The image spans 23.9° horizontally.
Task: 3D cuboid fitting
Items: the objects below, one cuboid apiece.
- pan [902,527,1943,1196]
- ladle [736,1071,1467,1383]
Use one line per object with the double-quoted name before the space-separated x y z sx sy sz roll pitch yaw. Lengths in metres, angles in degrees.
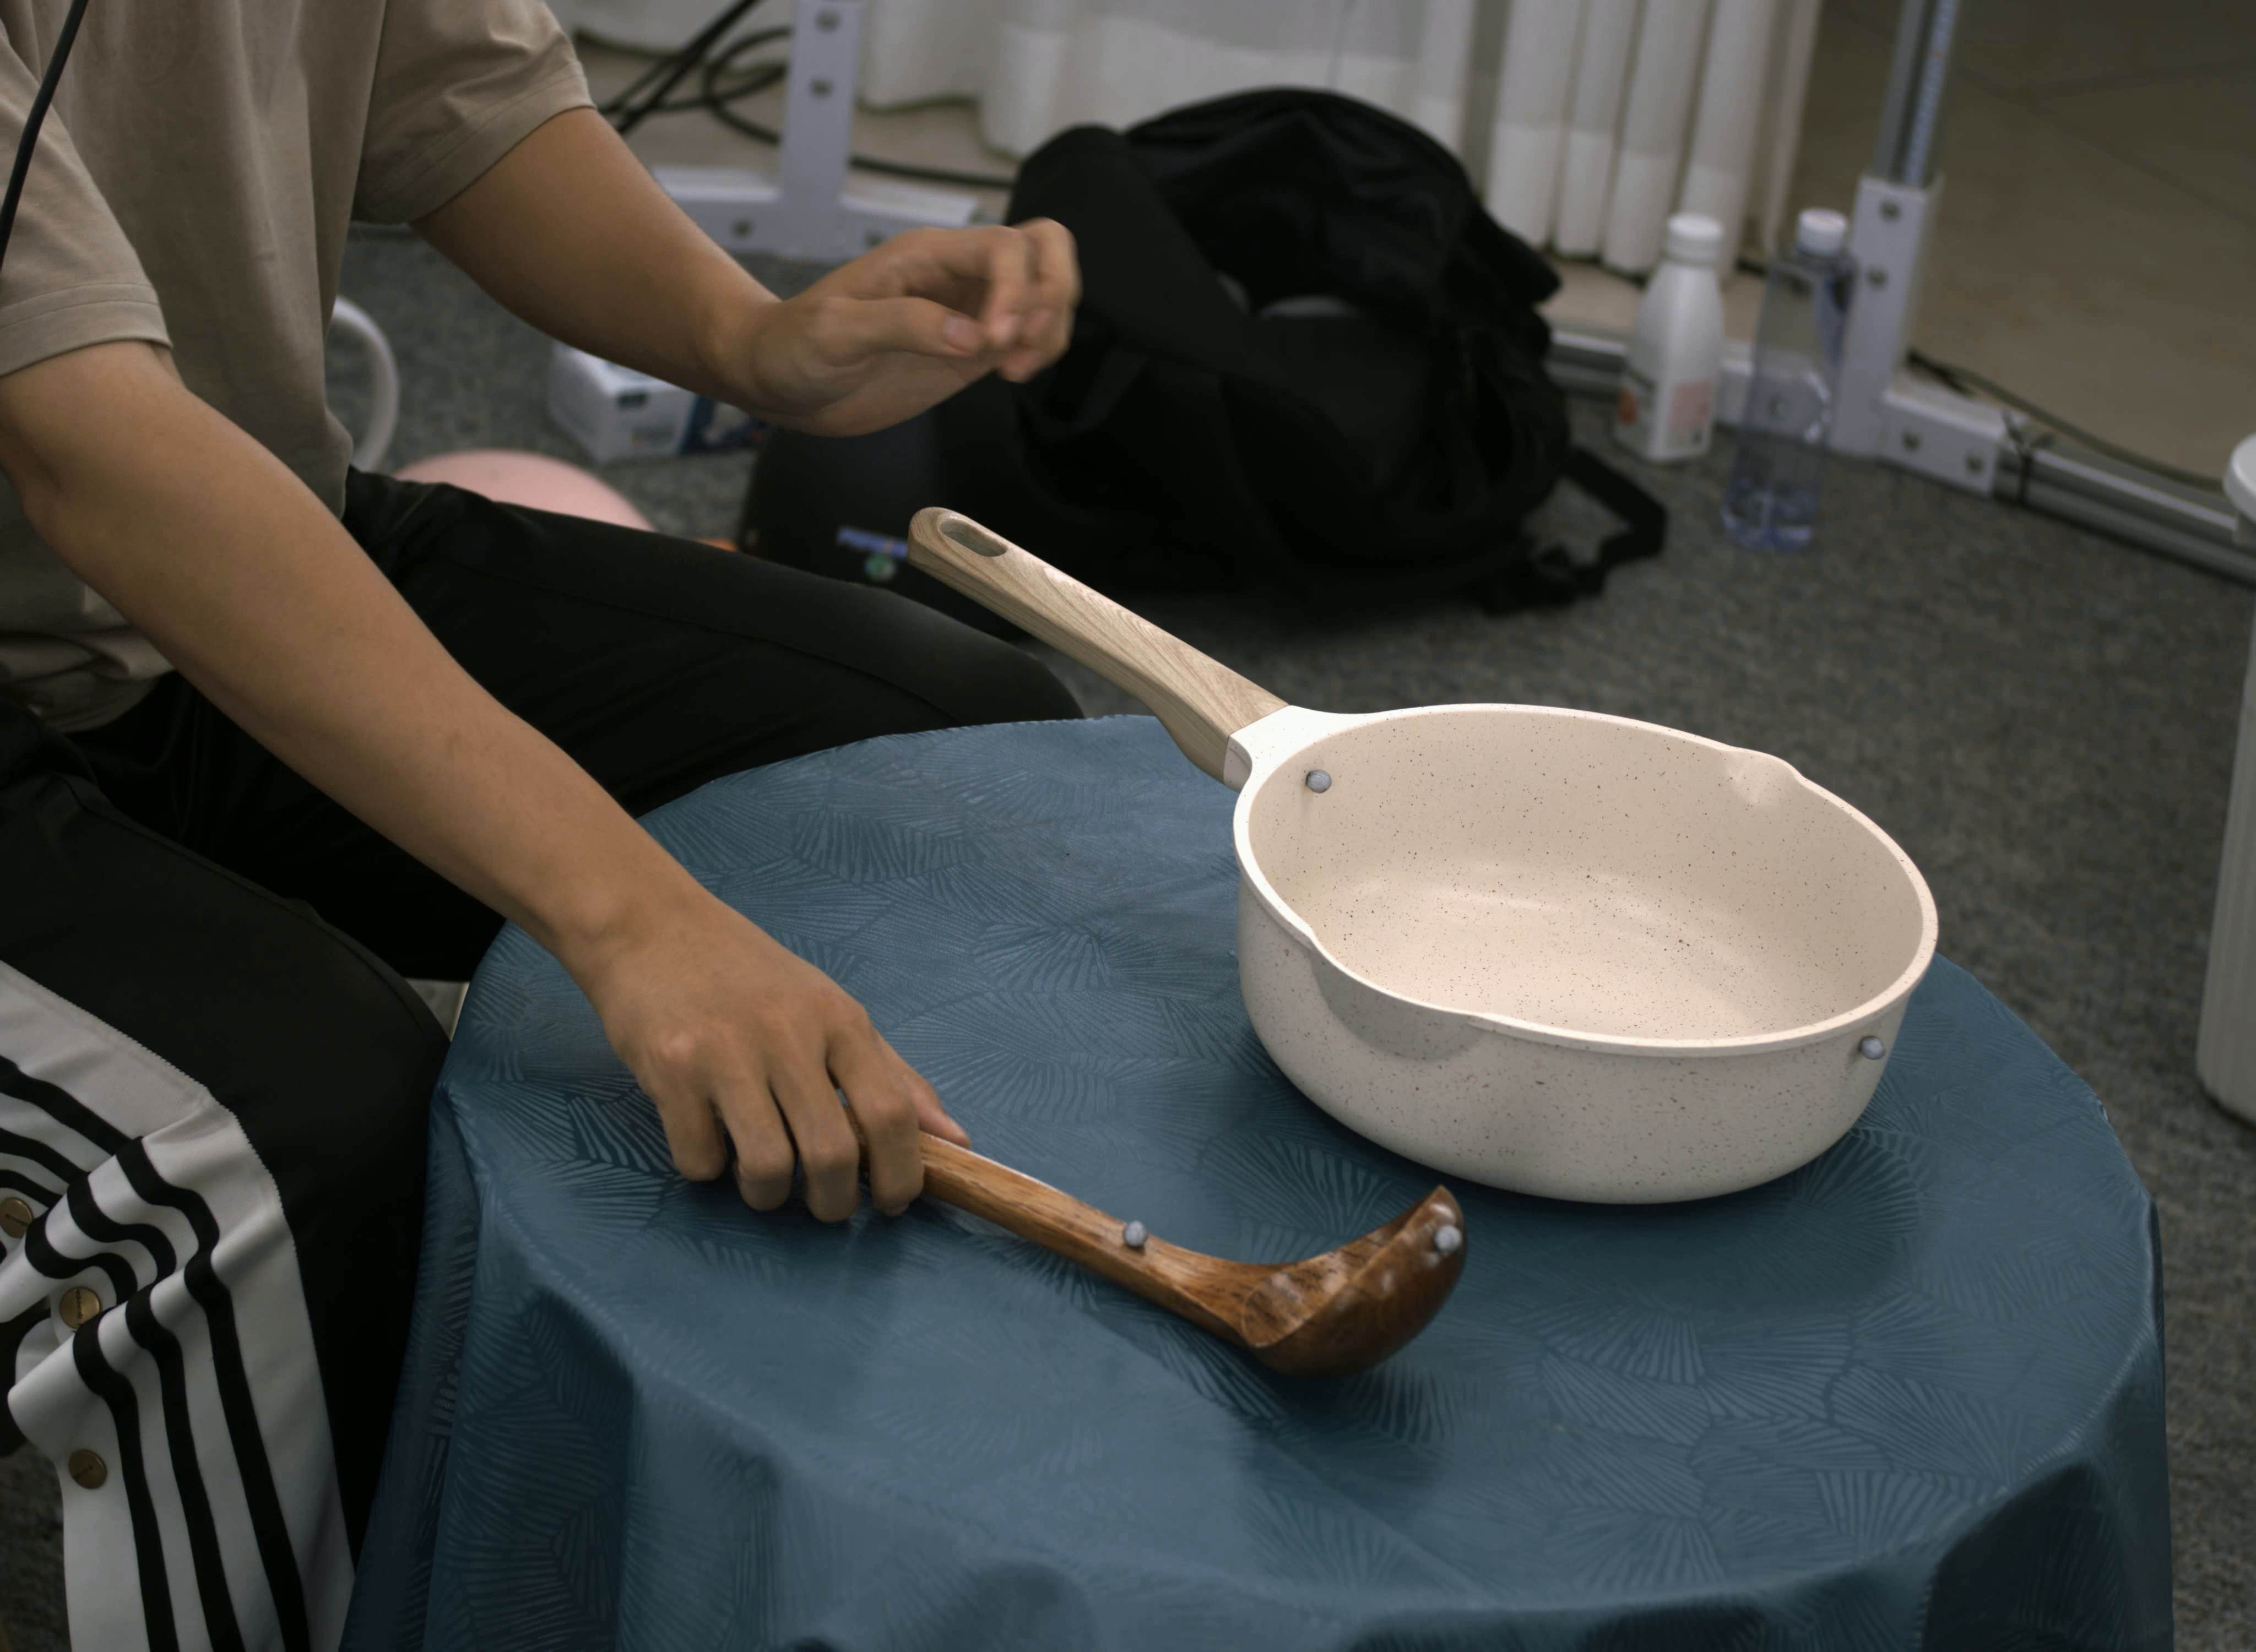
"pan" 0.088 0.007 1.945 0.437 0.101 0.262 24 33 30
"ladle" -0.015 0.112 1.740 0.275 0.076 0.082 22 33 26
